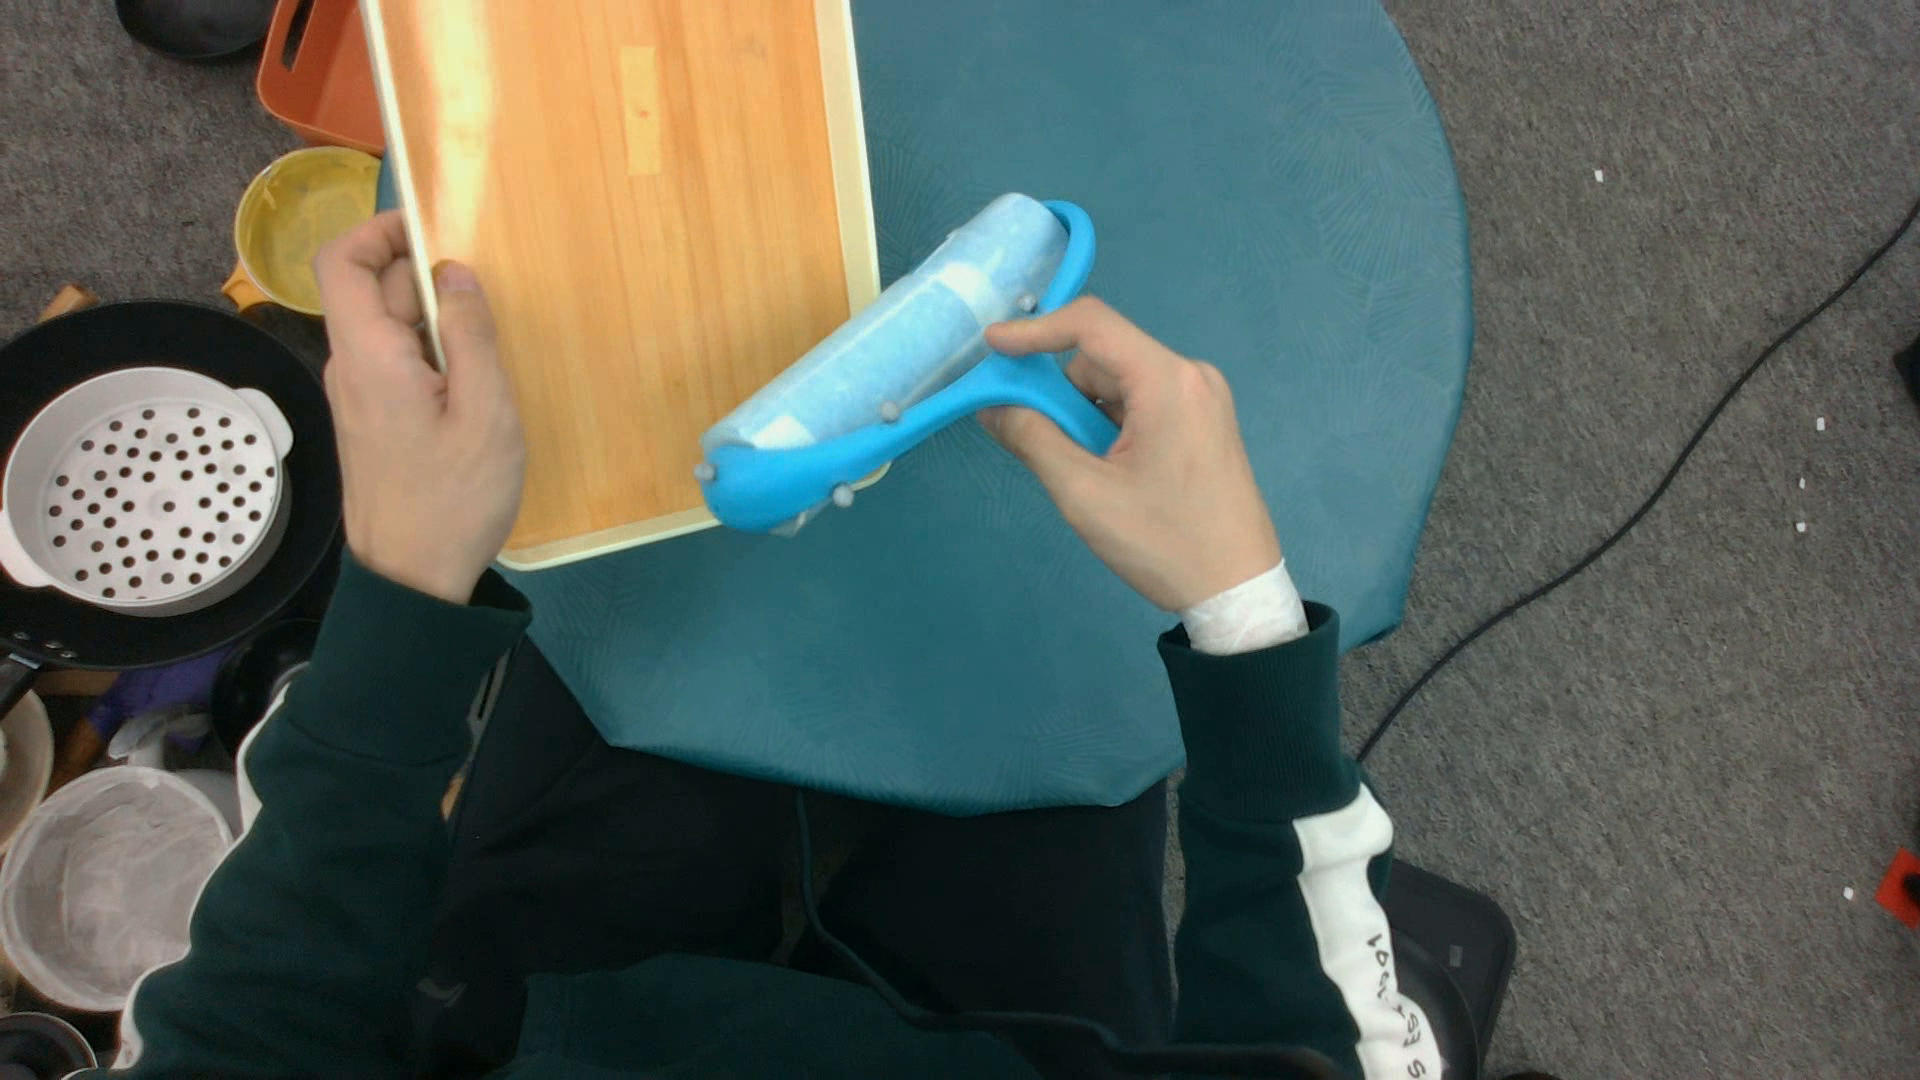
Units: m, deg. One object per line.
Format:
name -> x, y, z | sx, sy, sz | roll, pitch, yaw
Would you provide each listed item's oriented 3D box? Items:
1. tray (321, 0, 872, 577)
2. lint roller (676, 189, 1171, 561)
tray -> -0.140, -0.149, 0.562 | 0.192, 0.027, 0.299 | -17, 110, -30
lint roller -> 0.012, -0.056, 0.573 | 0.180, 0.067, 0.230 | 27, 51, 16
